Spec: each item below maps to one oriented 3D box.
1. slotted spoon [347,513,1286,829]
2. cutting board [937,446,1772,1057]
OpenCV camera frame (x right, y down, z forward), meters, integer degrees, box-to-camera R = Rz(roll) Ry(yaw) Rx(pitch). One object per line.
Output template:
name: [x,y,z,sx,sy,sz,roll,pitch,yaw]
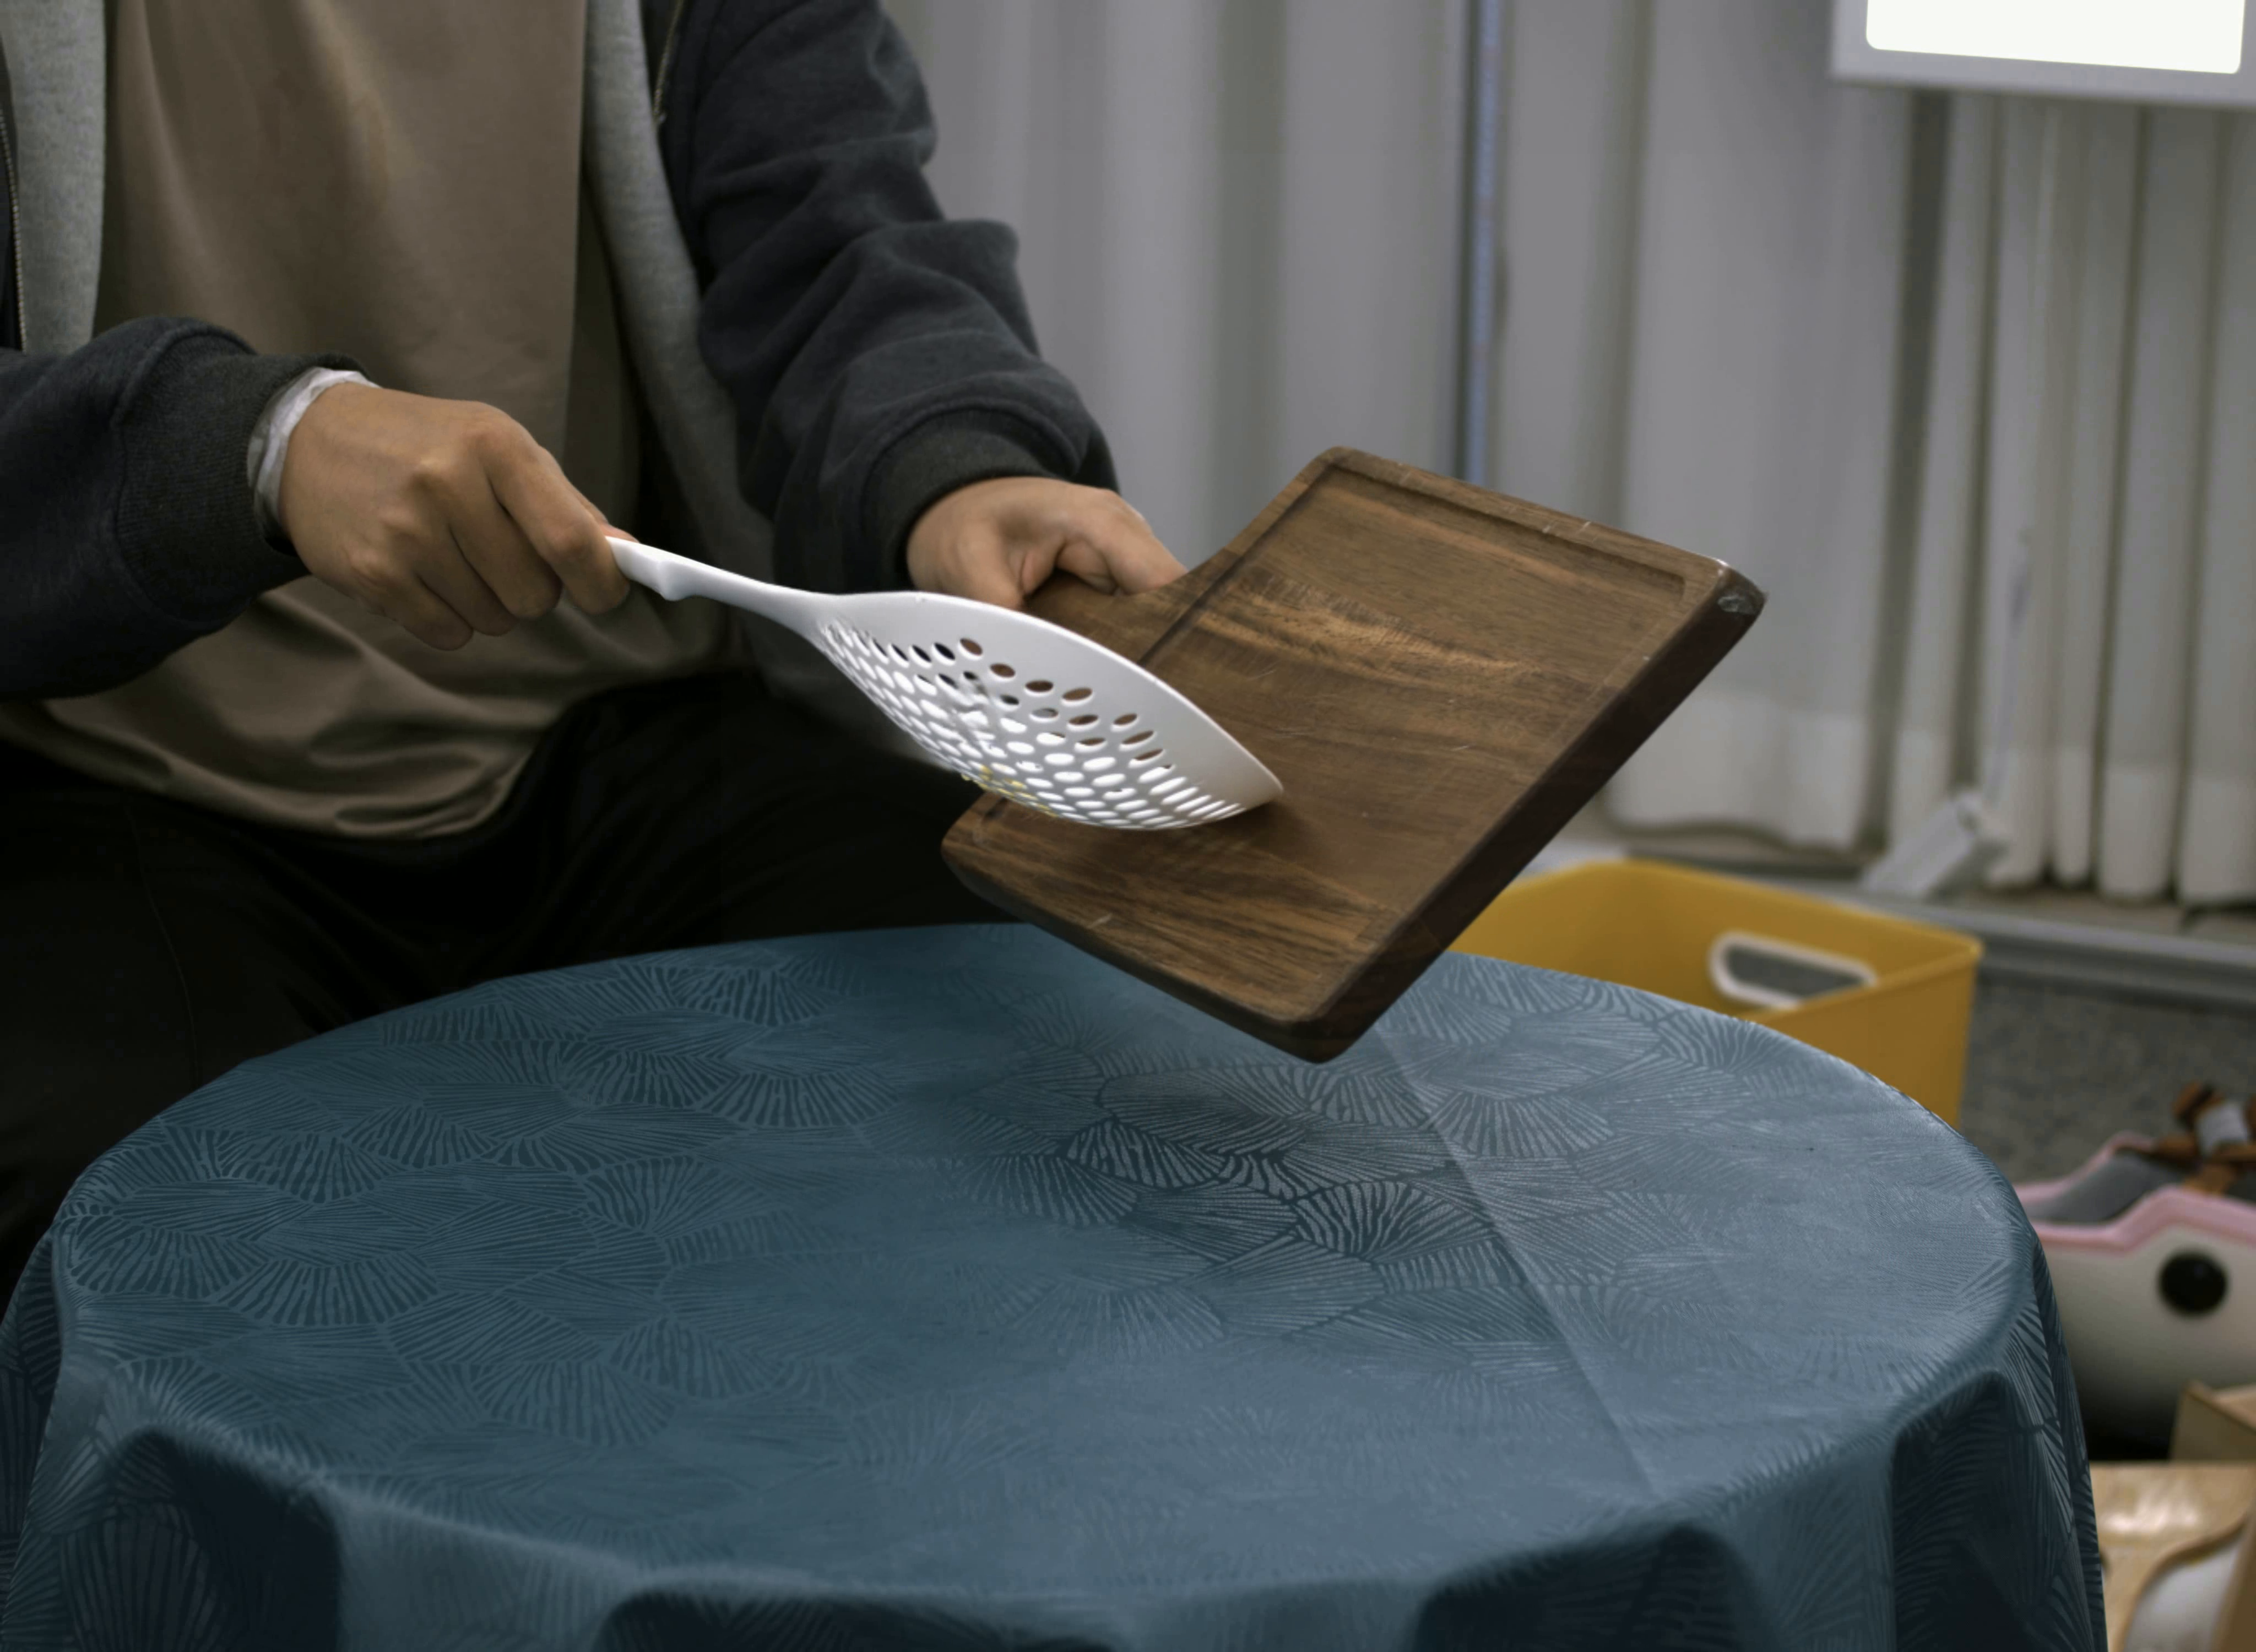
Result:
slotted spoon: [-0.107,-0.060,1.652,0.343,0.050,0.138,22,-10,32]
cutting board: [0.041,-0.040,1.680,0.201,0.023,0.348,-45,29,-12]
